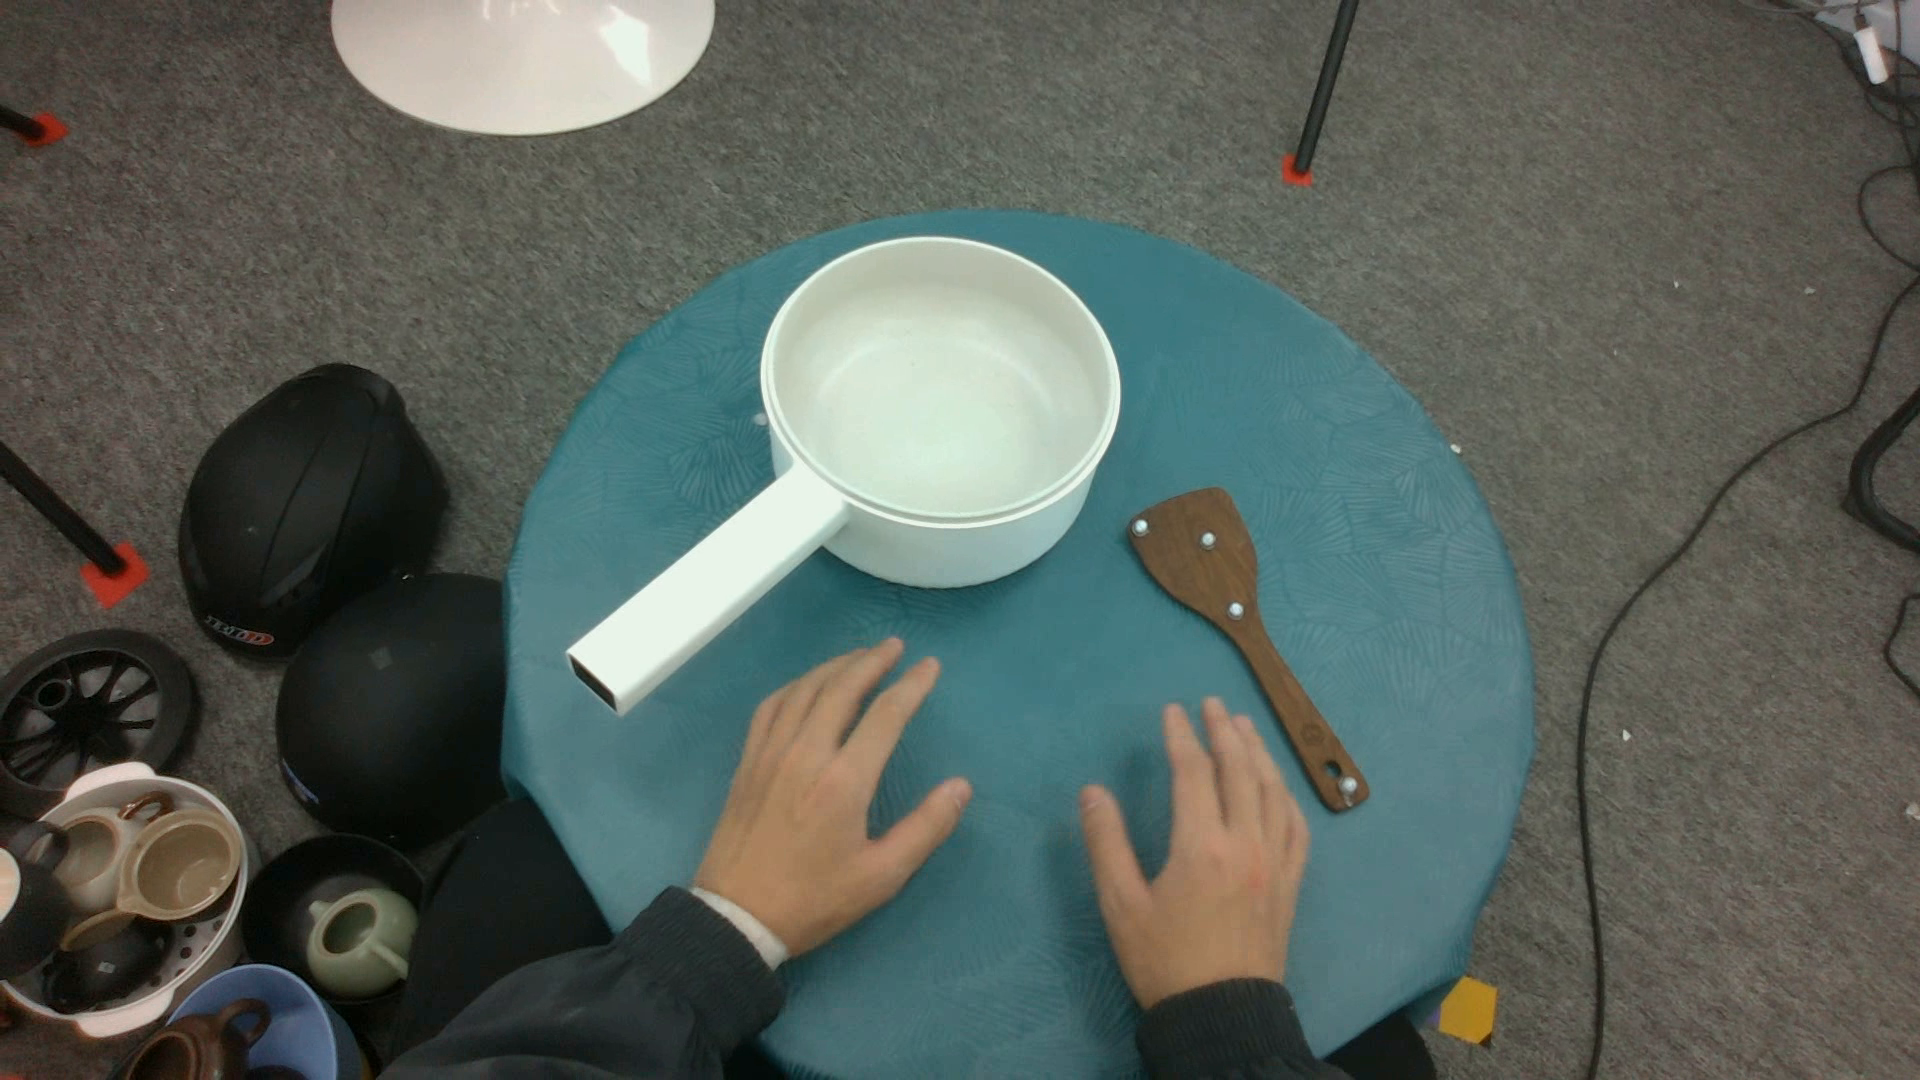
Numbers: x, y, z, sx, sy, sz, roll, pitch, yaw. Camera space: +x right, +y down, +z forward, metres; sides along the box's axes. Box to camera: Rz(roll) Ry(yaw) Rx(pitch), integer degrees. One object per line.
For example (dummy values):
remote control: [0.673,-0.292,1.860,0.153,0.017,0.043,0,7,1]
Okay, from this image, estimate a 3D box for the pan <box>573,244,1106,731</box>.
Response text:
pan: [-0.067,-0.018,0.786,0.201,0.101,0.356,36,64,16]

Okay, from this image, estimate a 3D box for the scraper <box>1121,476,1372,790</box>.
scraper: [0.174,0.053,0.812,0.076,0.011,0.212,-22,63,-16]
